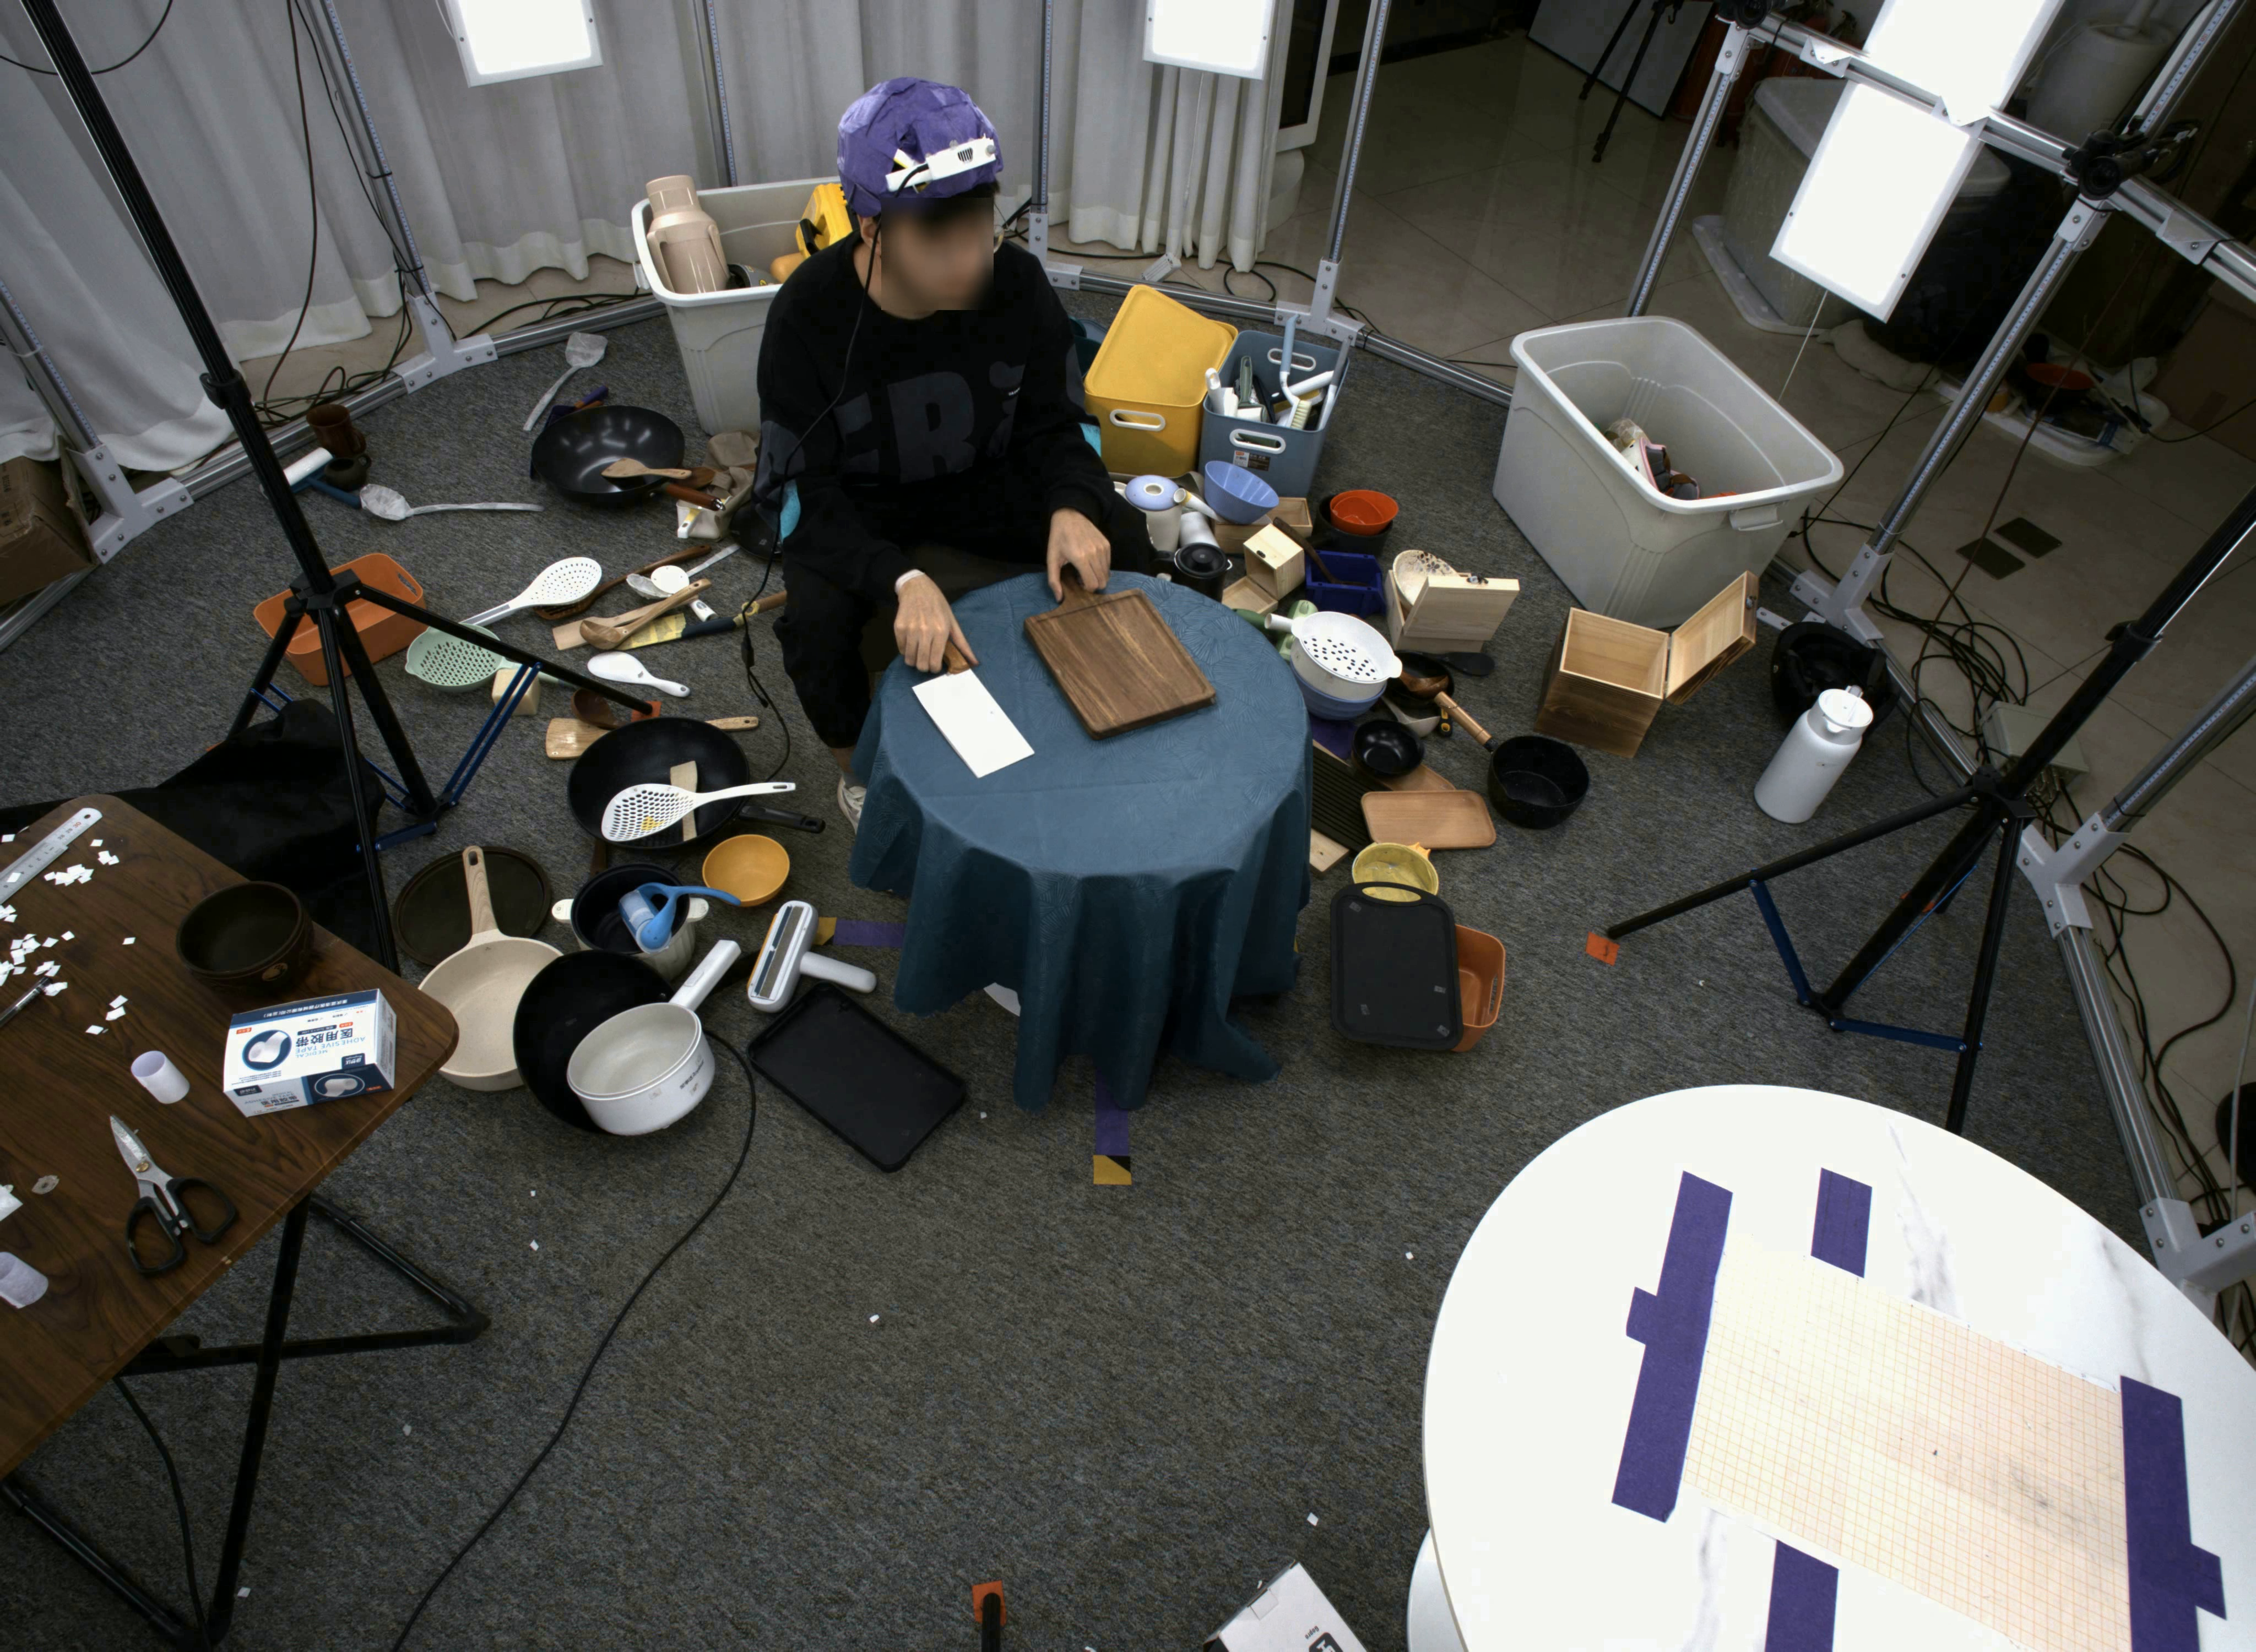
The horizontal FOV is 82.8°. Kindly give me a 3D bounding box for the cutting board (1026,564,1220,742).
[{"bbox_3d":[-0.032,-0.274,1.891,0.201,0.022,0.360,-19,53,-19],"label":"cutting board"}]

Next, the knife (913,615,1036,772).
[{"bbox_3d":[-0.240,-0.187,1.805,0.093,0.020,0.312,-25,57,-21],"label":"knife"}]
